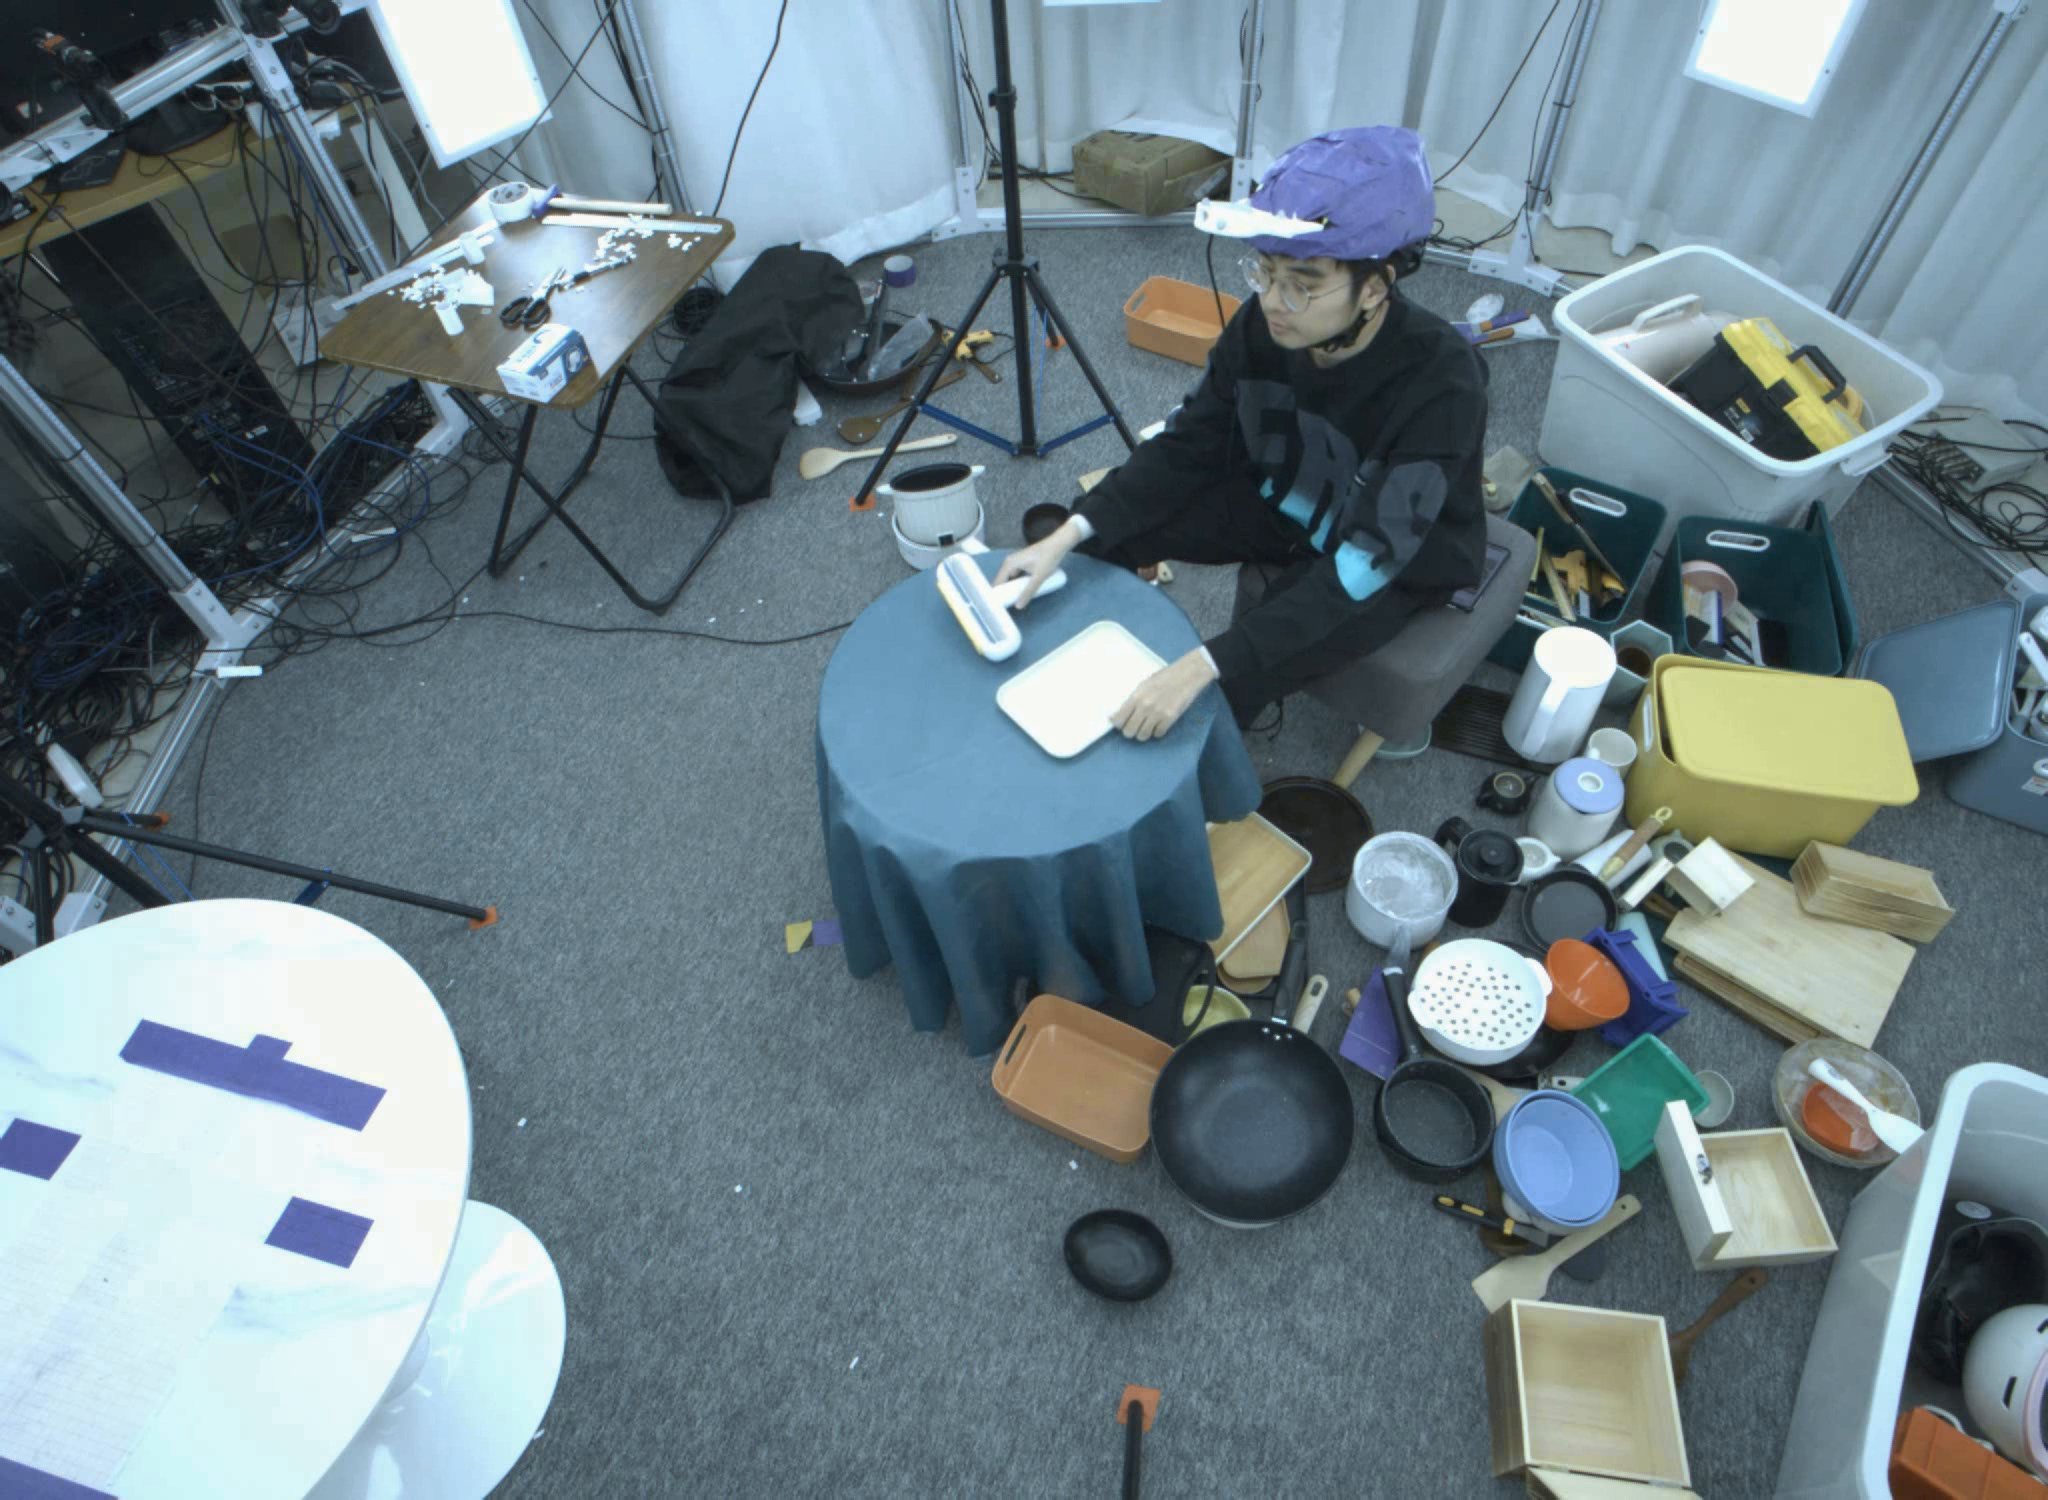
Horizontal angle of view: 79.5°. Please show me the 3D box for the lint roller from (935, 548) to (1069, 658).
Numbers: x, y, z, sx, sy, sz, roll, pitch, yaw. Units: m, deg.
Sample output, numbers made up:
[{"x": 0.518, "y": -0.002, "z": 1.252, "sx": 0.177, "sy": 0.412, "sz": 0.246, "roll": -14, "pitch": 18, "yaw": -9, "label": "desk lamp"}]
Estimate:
[{"x": -0.022, "y": -0.248, "z": 1.909, "sx": 0.193, "sy": 0.075, "sz": 0.190, "roll": -24, "pitch": 64, "yaw": -8, "label": "lint roller"}]

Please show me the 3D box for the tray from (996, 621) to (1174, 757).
[{"x": 0.091, "y": -0.092, "z": 1.834, "sx": 0.241, "sy": 0.017, "sz": 0.168, "roll": -35, "pitch": 60, "yaw": -21, "label": "tray"}]
